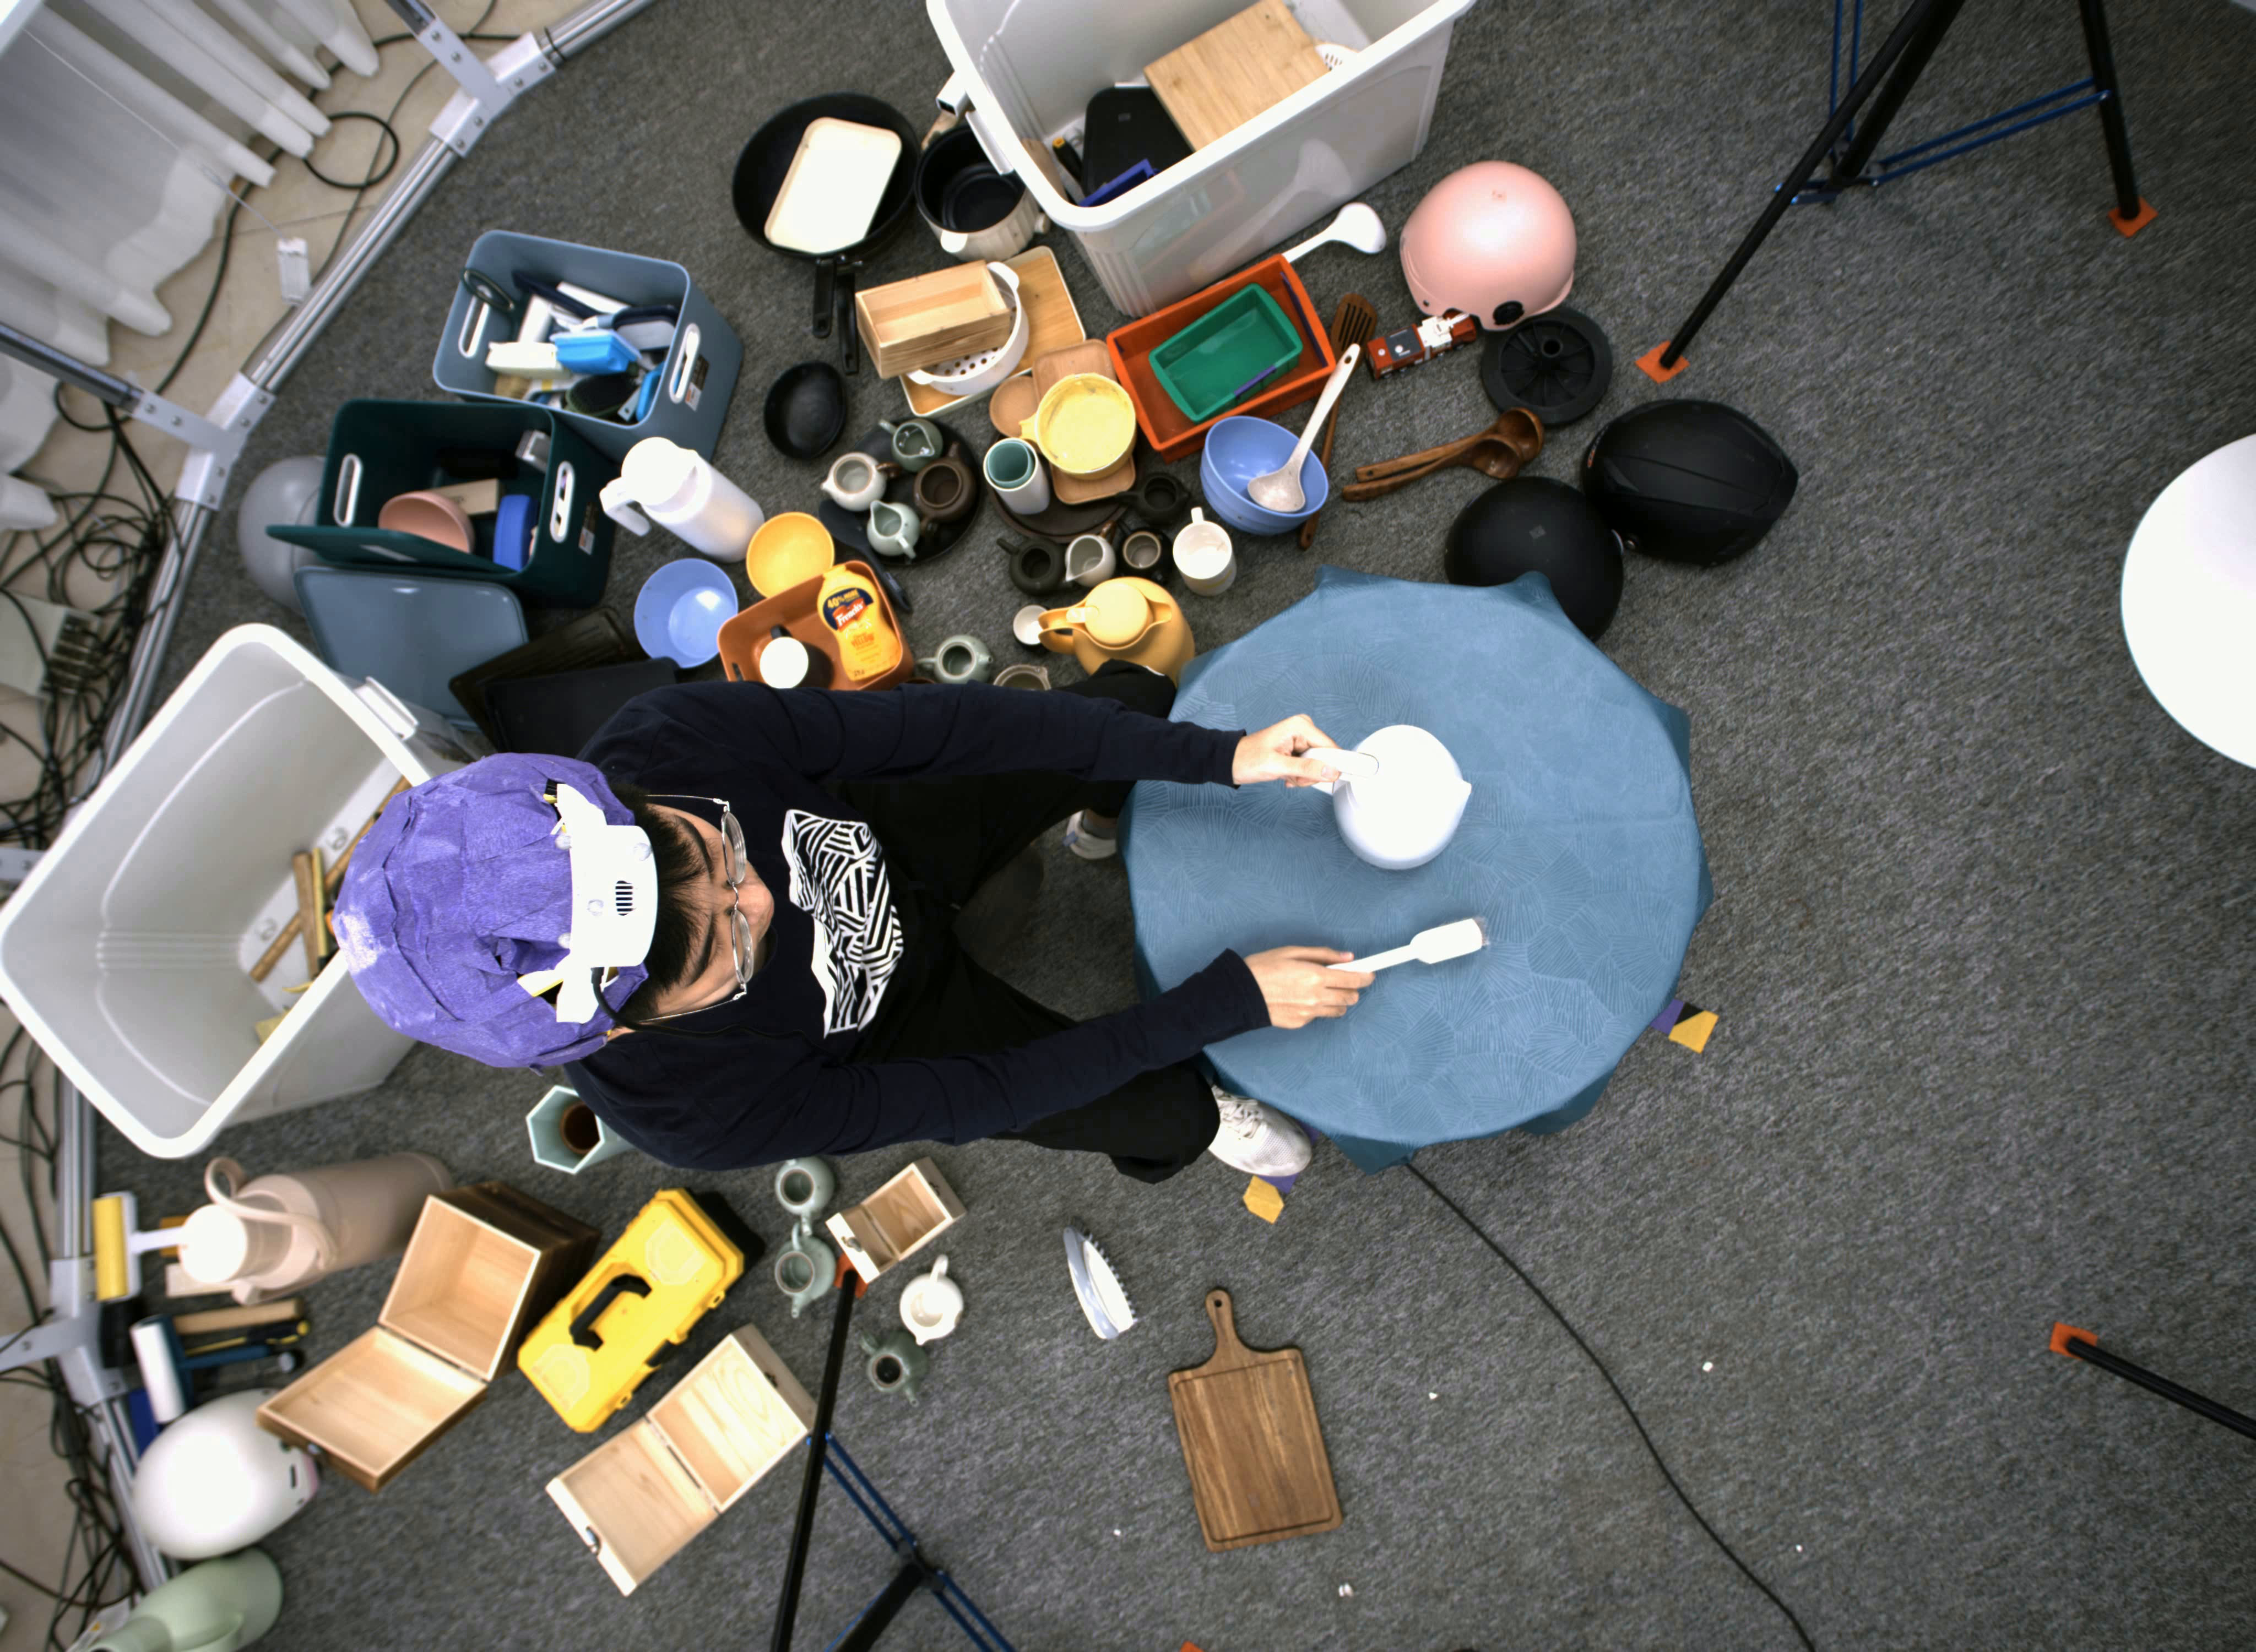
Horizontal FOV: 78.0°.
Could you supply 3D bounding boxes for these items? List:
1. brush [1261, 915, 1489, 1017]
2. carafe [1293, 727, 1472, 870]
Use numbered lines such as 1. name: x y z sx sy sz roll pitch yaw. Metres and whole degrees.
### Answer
1. brush: 0.253 0.144 1.429 0.245 0.050 0.034 -21 90 10
2. carafe: 0.245 -0.036 1.343 0.168 0.249 0.132 13 88 11
